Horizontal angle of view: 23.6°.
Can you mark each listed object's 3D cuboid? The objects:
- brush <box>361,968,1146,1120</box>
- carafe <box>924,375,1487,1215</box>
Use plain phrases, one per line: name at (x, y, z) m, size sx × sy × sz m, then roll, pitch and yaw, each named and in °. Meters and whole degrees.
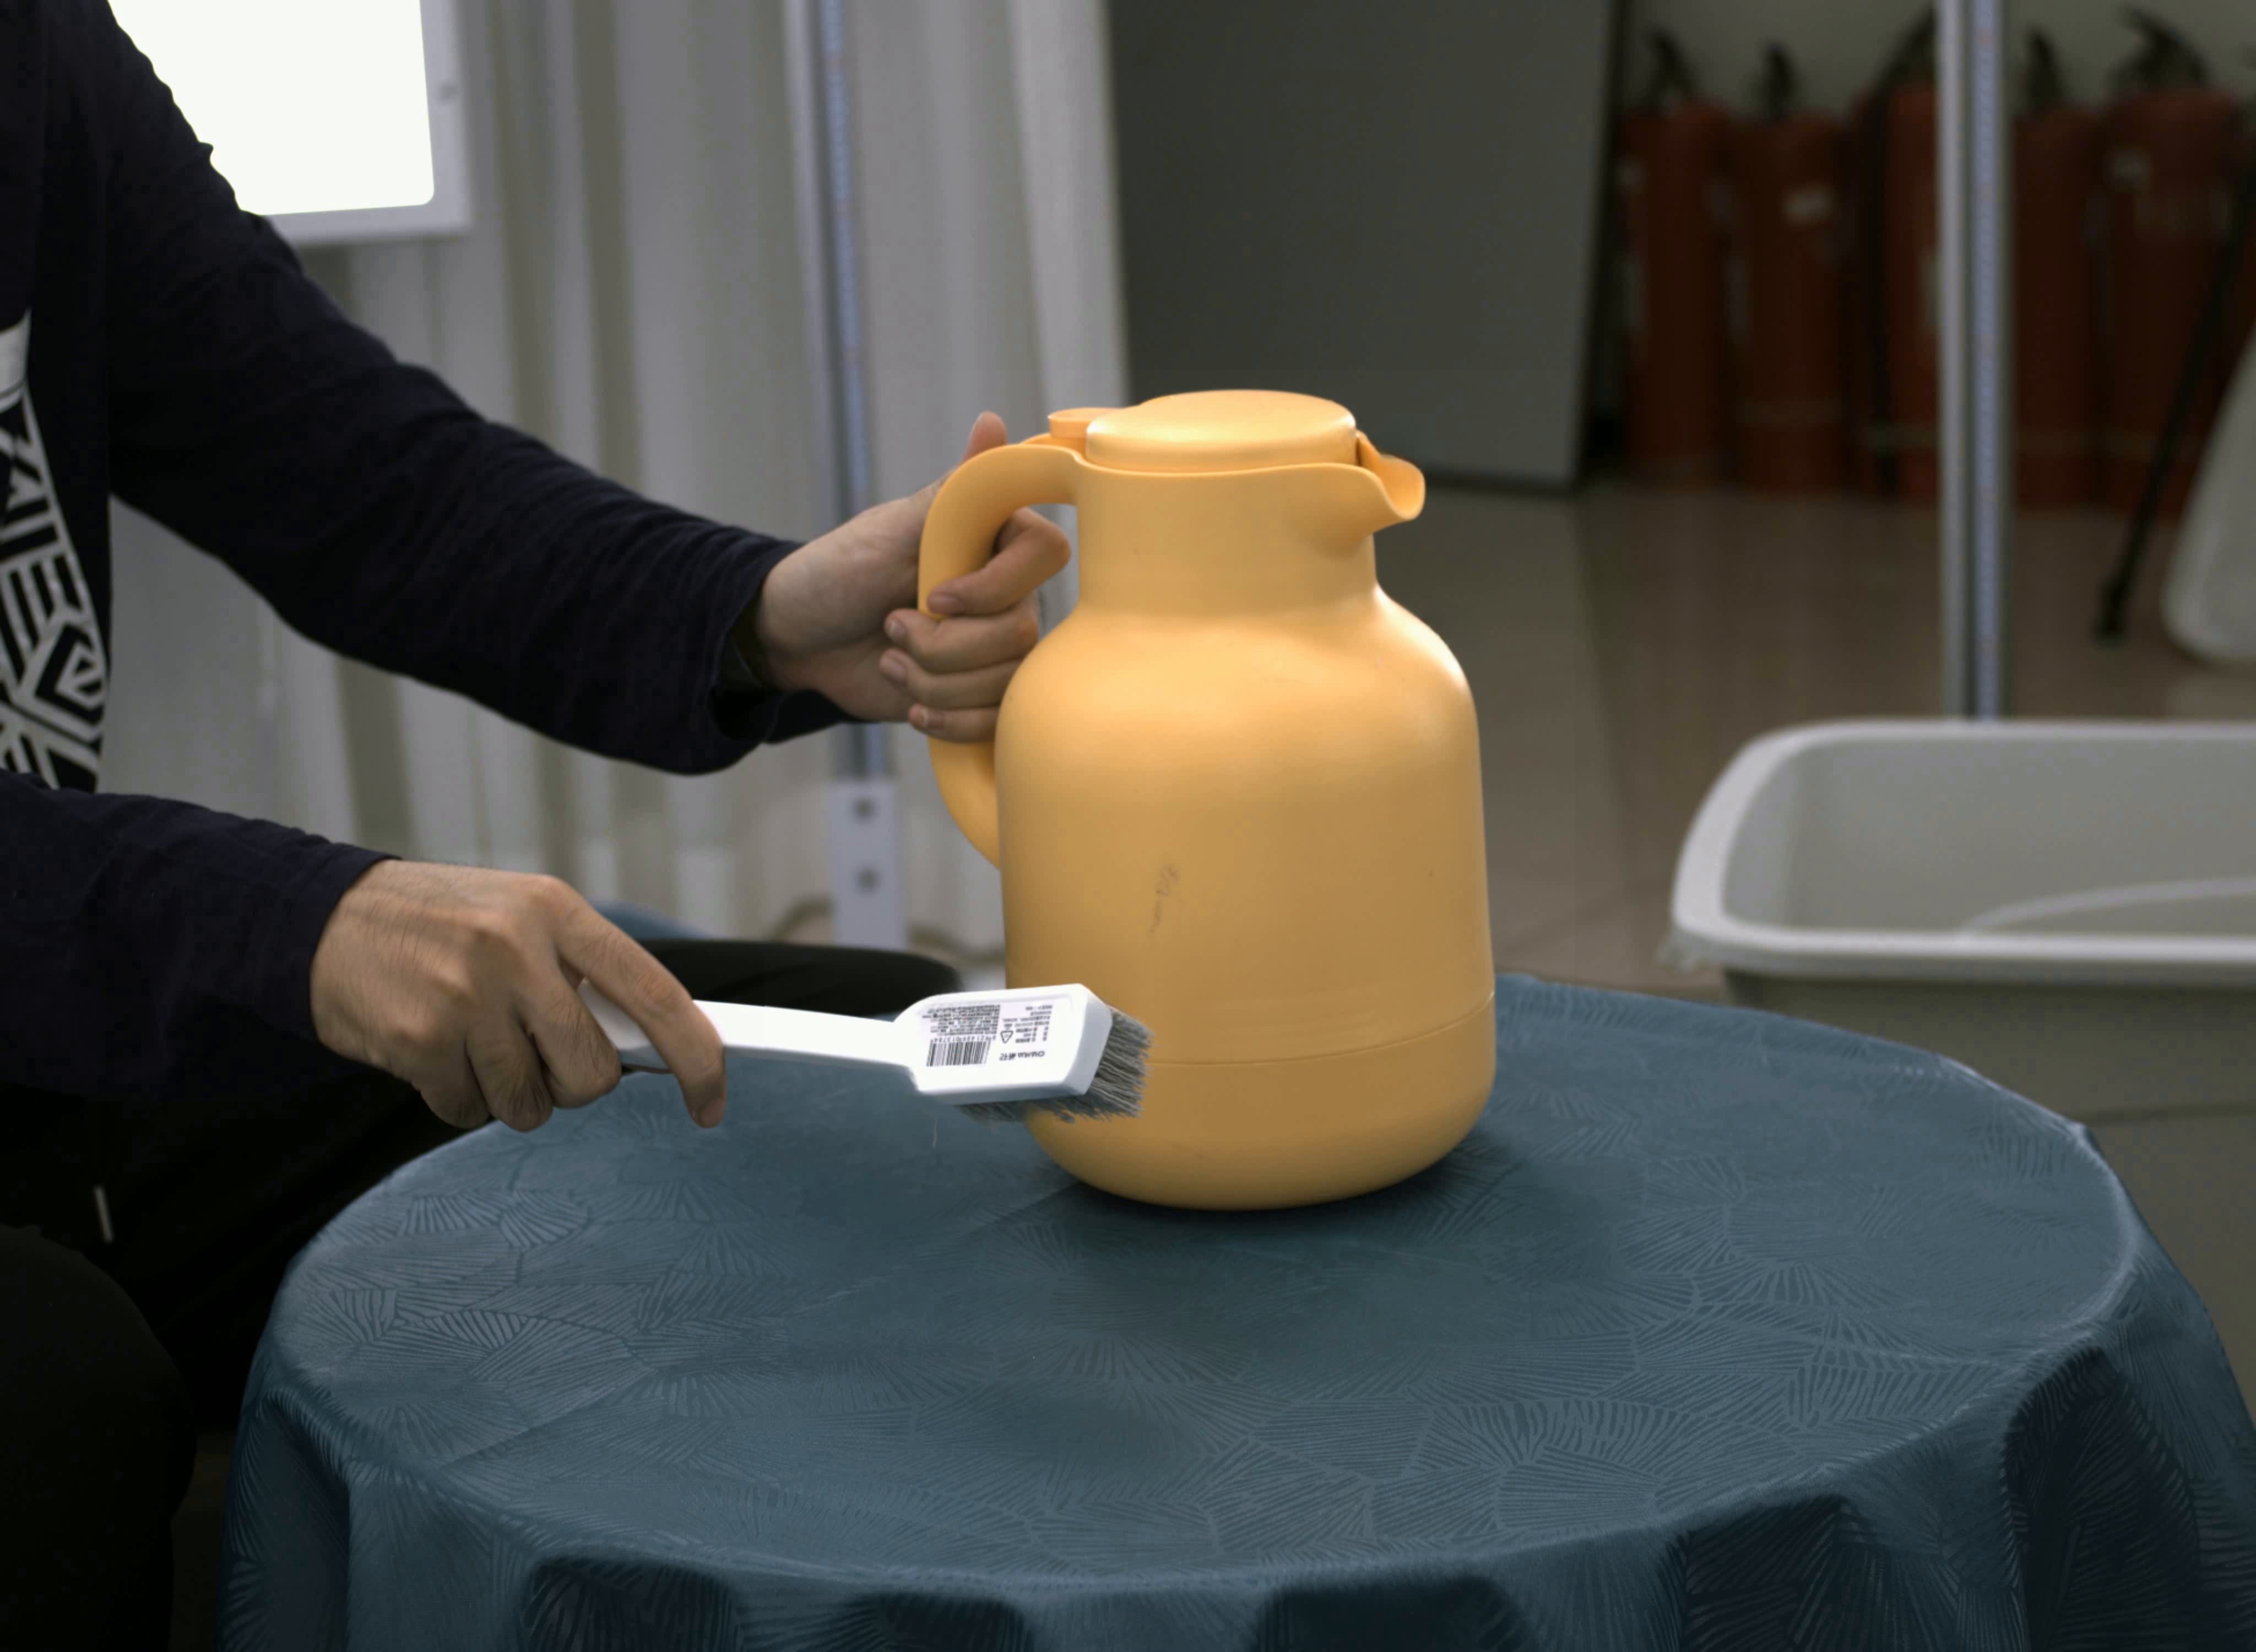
brush at (-0.113, 0.067, 1.630) m, size 0.243 × 0.035 × 0.050 m, roll -1°, pitch -24°, yaw 17°
carafe at (0.021, -0.016, 1.778) m, size 0.204 × 0.263 × 0.160 m, roll 8°, pitch 15°, yaw 38°
